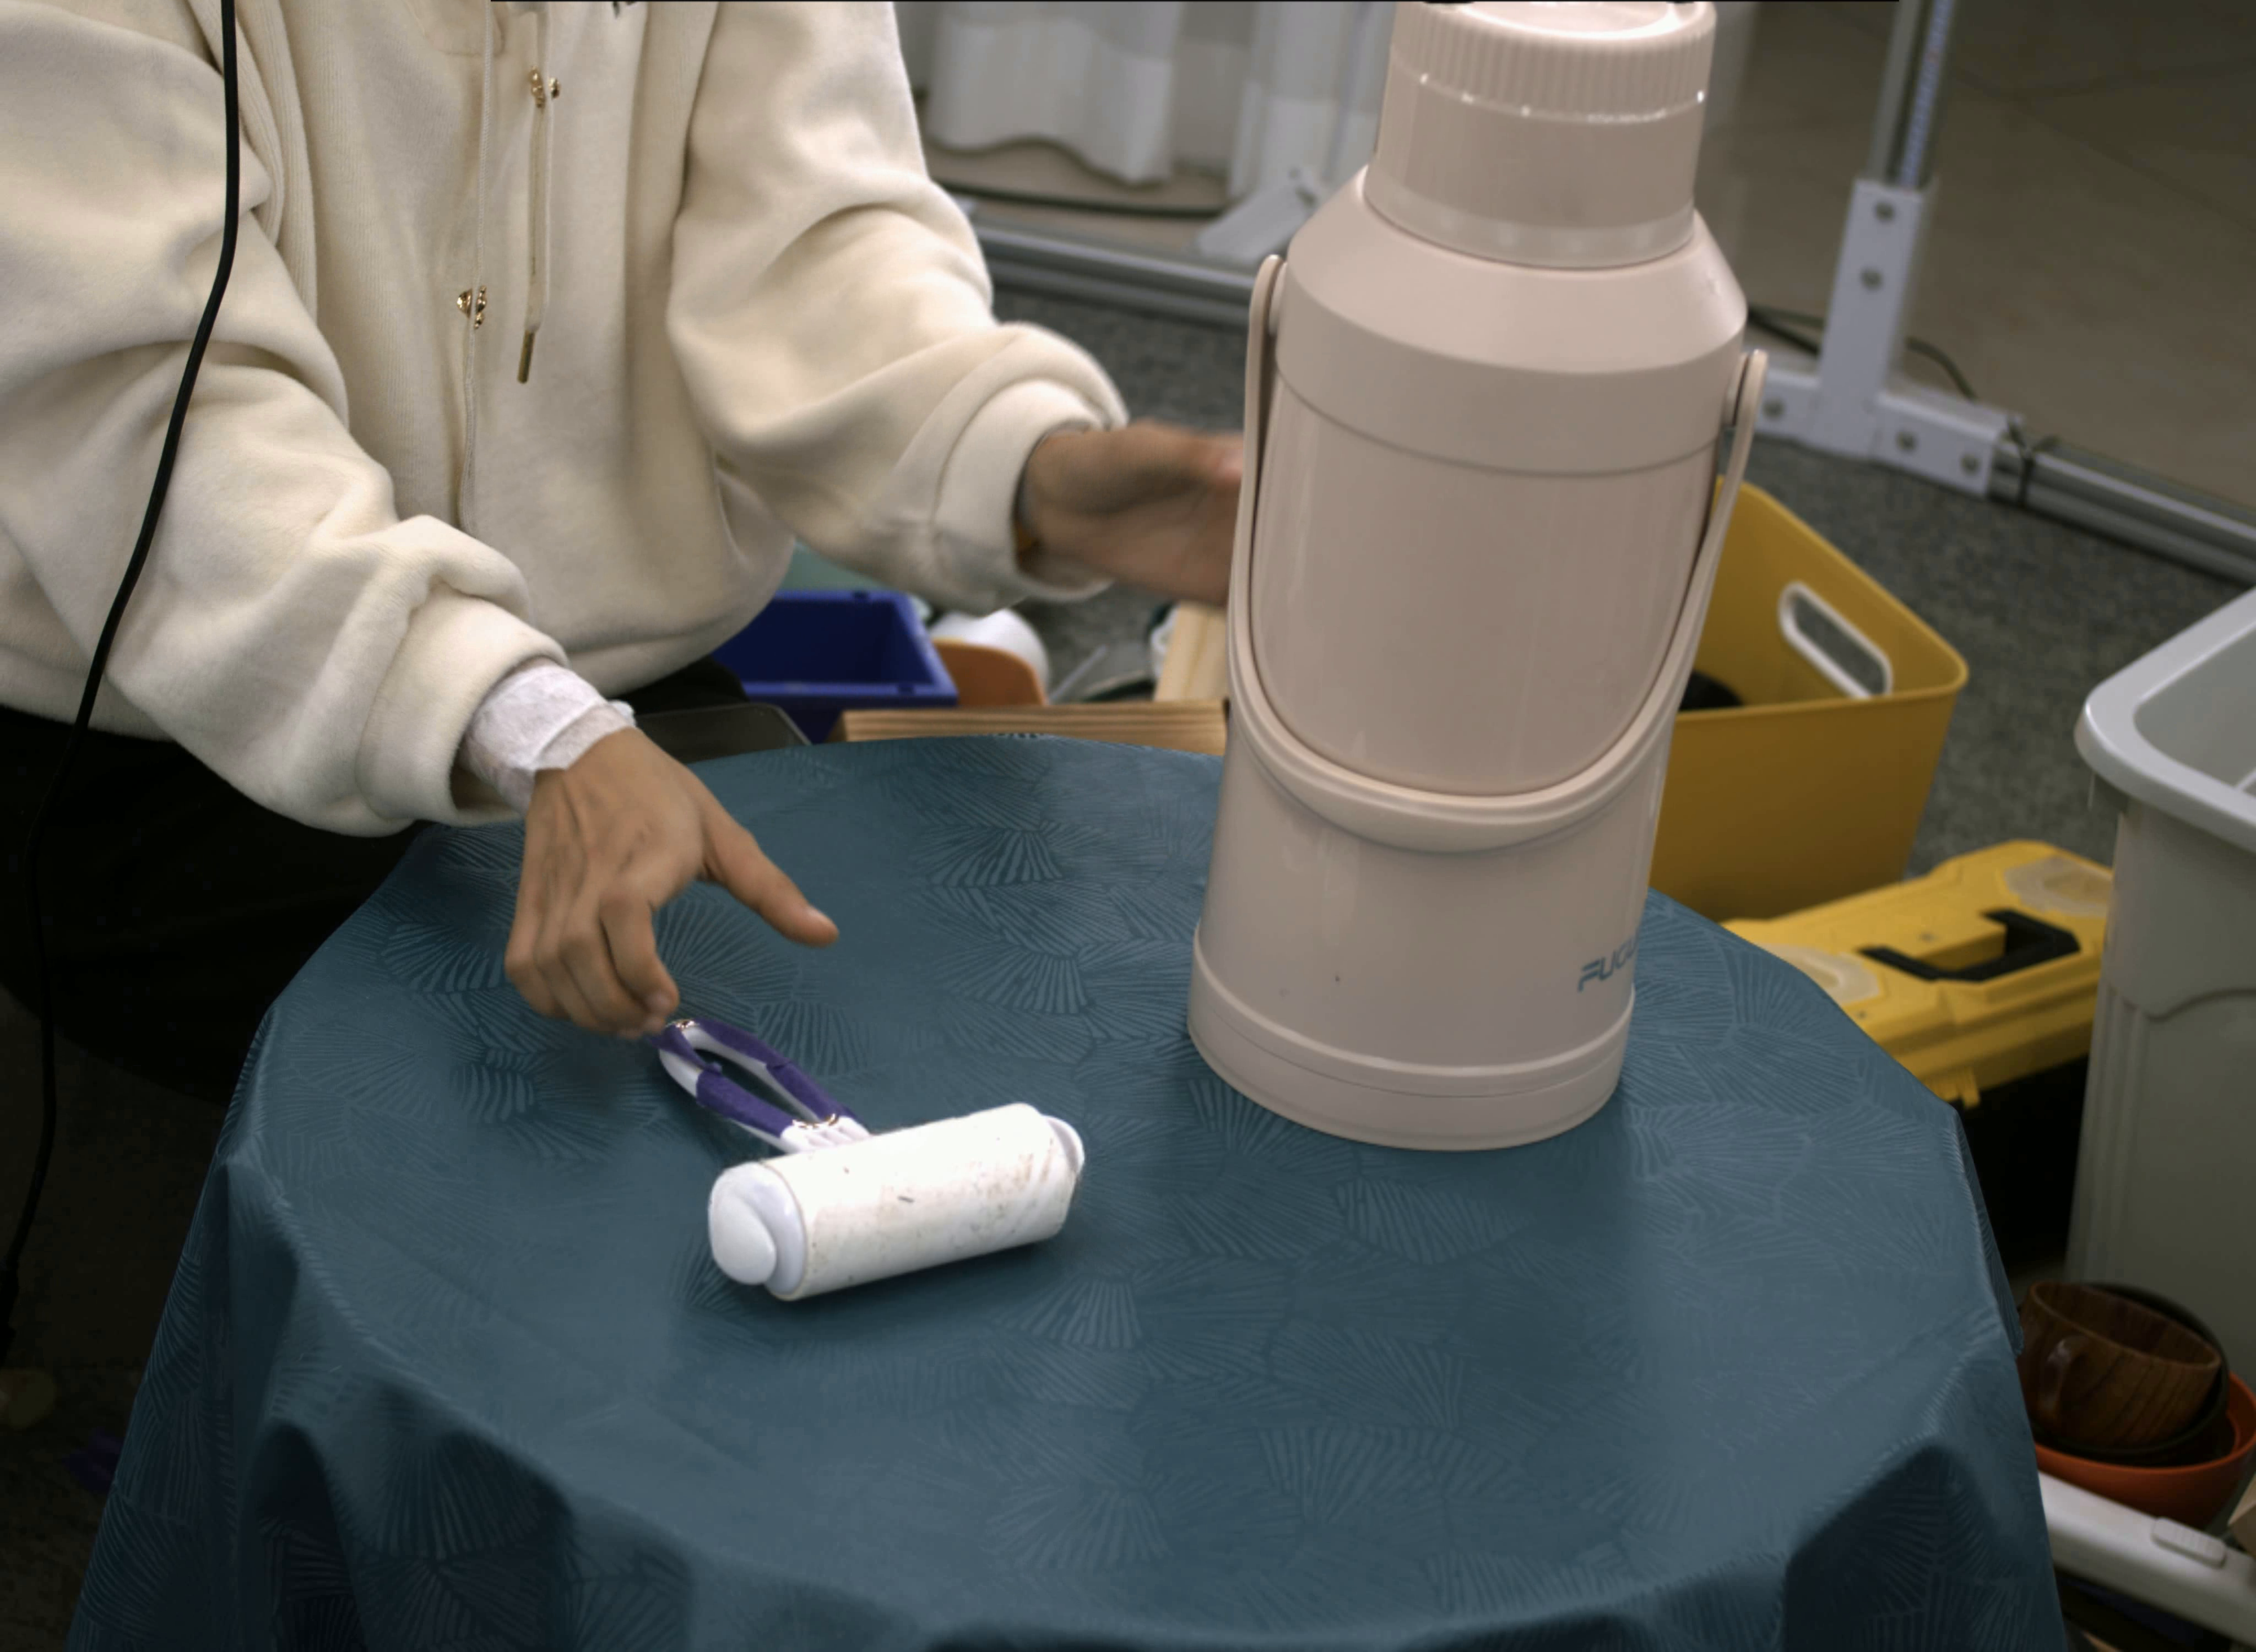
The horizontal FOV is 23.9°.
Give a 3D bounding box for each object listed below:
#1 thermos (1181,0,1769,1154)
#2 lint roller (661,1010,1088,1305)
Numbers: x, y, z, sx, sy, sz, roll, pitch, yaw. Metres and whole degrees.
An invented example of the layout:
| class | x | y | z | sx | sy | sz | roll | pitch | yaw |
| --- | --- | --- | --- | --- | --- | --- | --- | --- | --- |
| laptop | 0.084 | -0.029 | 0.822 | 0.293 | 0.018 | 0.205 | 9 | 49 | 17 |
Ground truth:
| class | x | y | z | sx | sy | sz | roll | pitch | yaw |
| --- | --- | --- | --- | --- | --- | --- | --- | --- | --- |
| thermos | 0.124 | -0.103 | 1.839 | 0.175 | 0.405 | 0.207 | 12 | 27 | 11 |
| lint roller | -0.105 | 0.093 | 1.786 | 0.132 | 0.050 | 0.182 | -11 | 34 | -28 |
